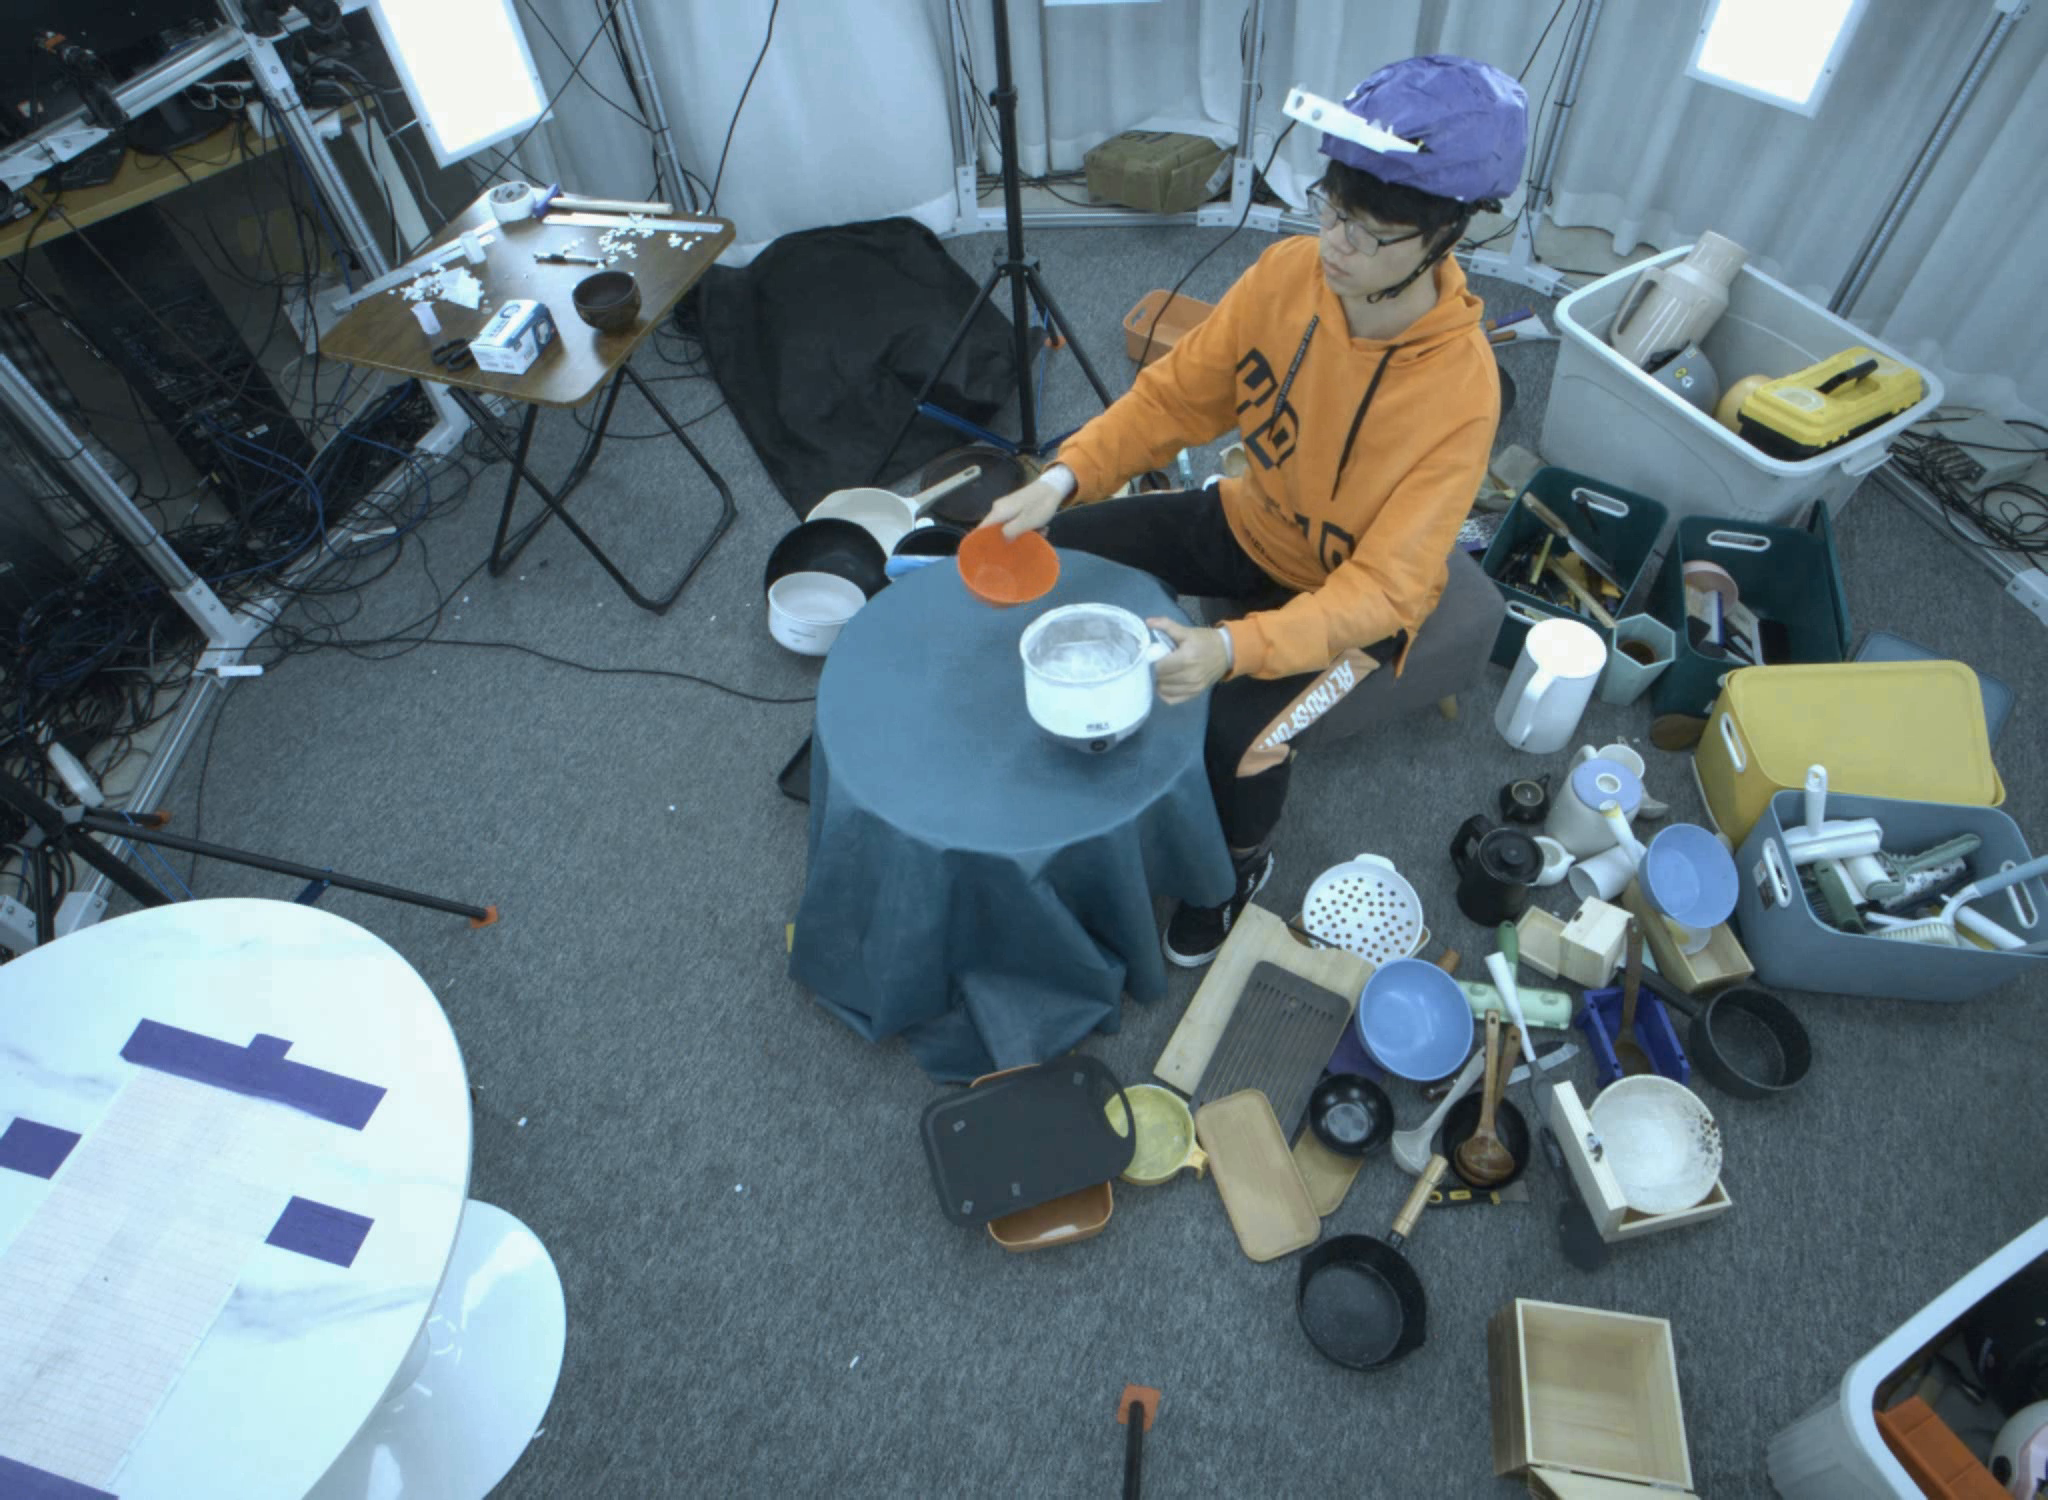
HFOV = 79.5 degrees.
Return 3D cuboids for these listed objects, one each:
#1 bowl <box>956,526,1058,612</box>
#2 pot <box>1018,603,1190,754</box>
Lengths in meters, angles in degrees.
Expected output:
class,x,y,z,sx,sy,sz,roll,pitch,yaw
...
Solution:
class,x,y,z,sx,sy,sz,roll,pitch,yaw
bowl,-0.032,-0.249,1.793,0.149,0.104,0.147,6,65,-11
pot,0.114,-0.105,1.707,0.234,0.138,0.176,-10,44,-3
